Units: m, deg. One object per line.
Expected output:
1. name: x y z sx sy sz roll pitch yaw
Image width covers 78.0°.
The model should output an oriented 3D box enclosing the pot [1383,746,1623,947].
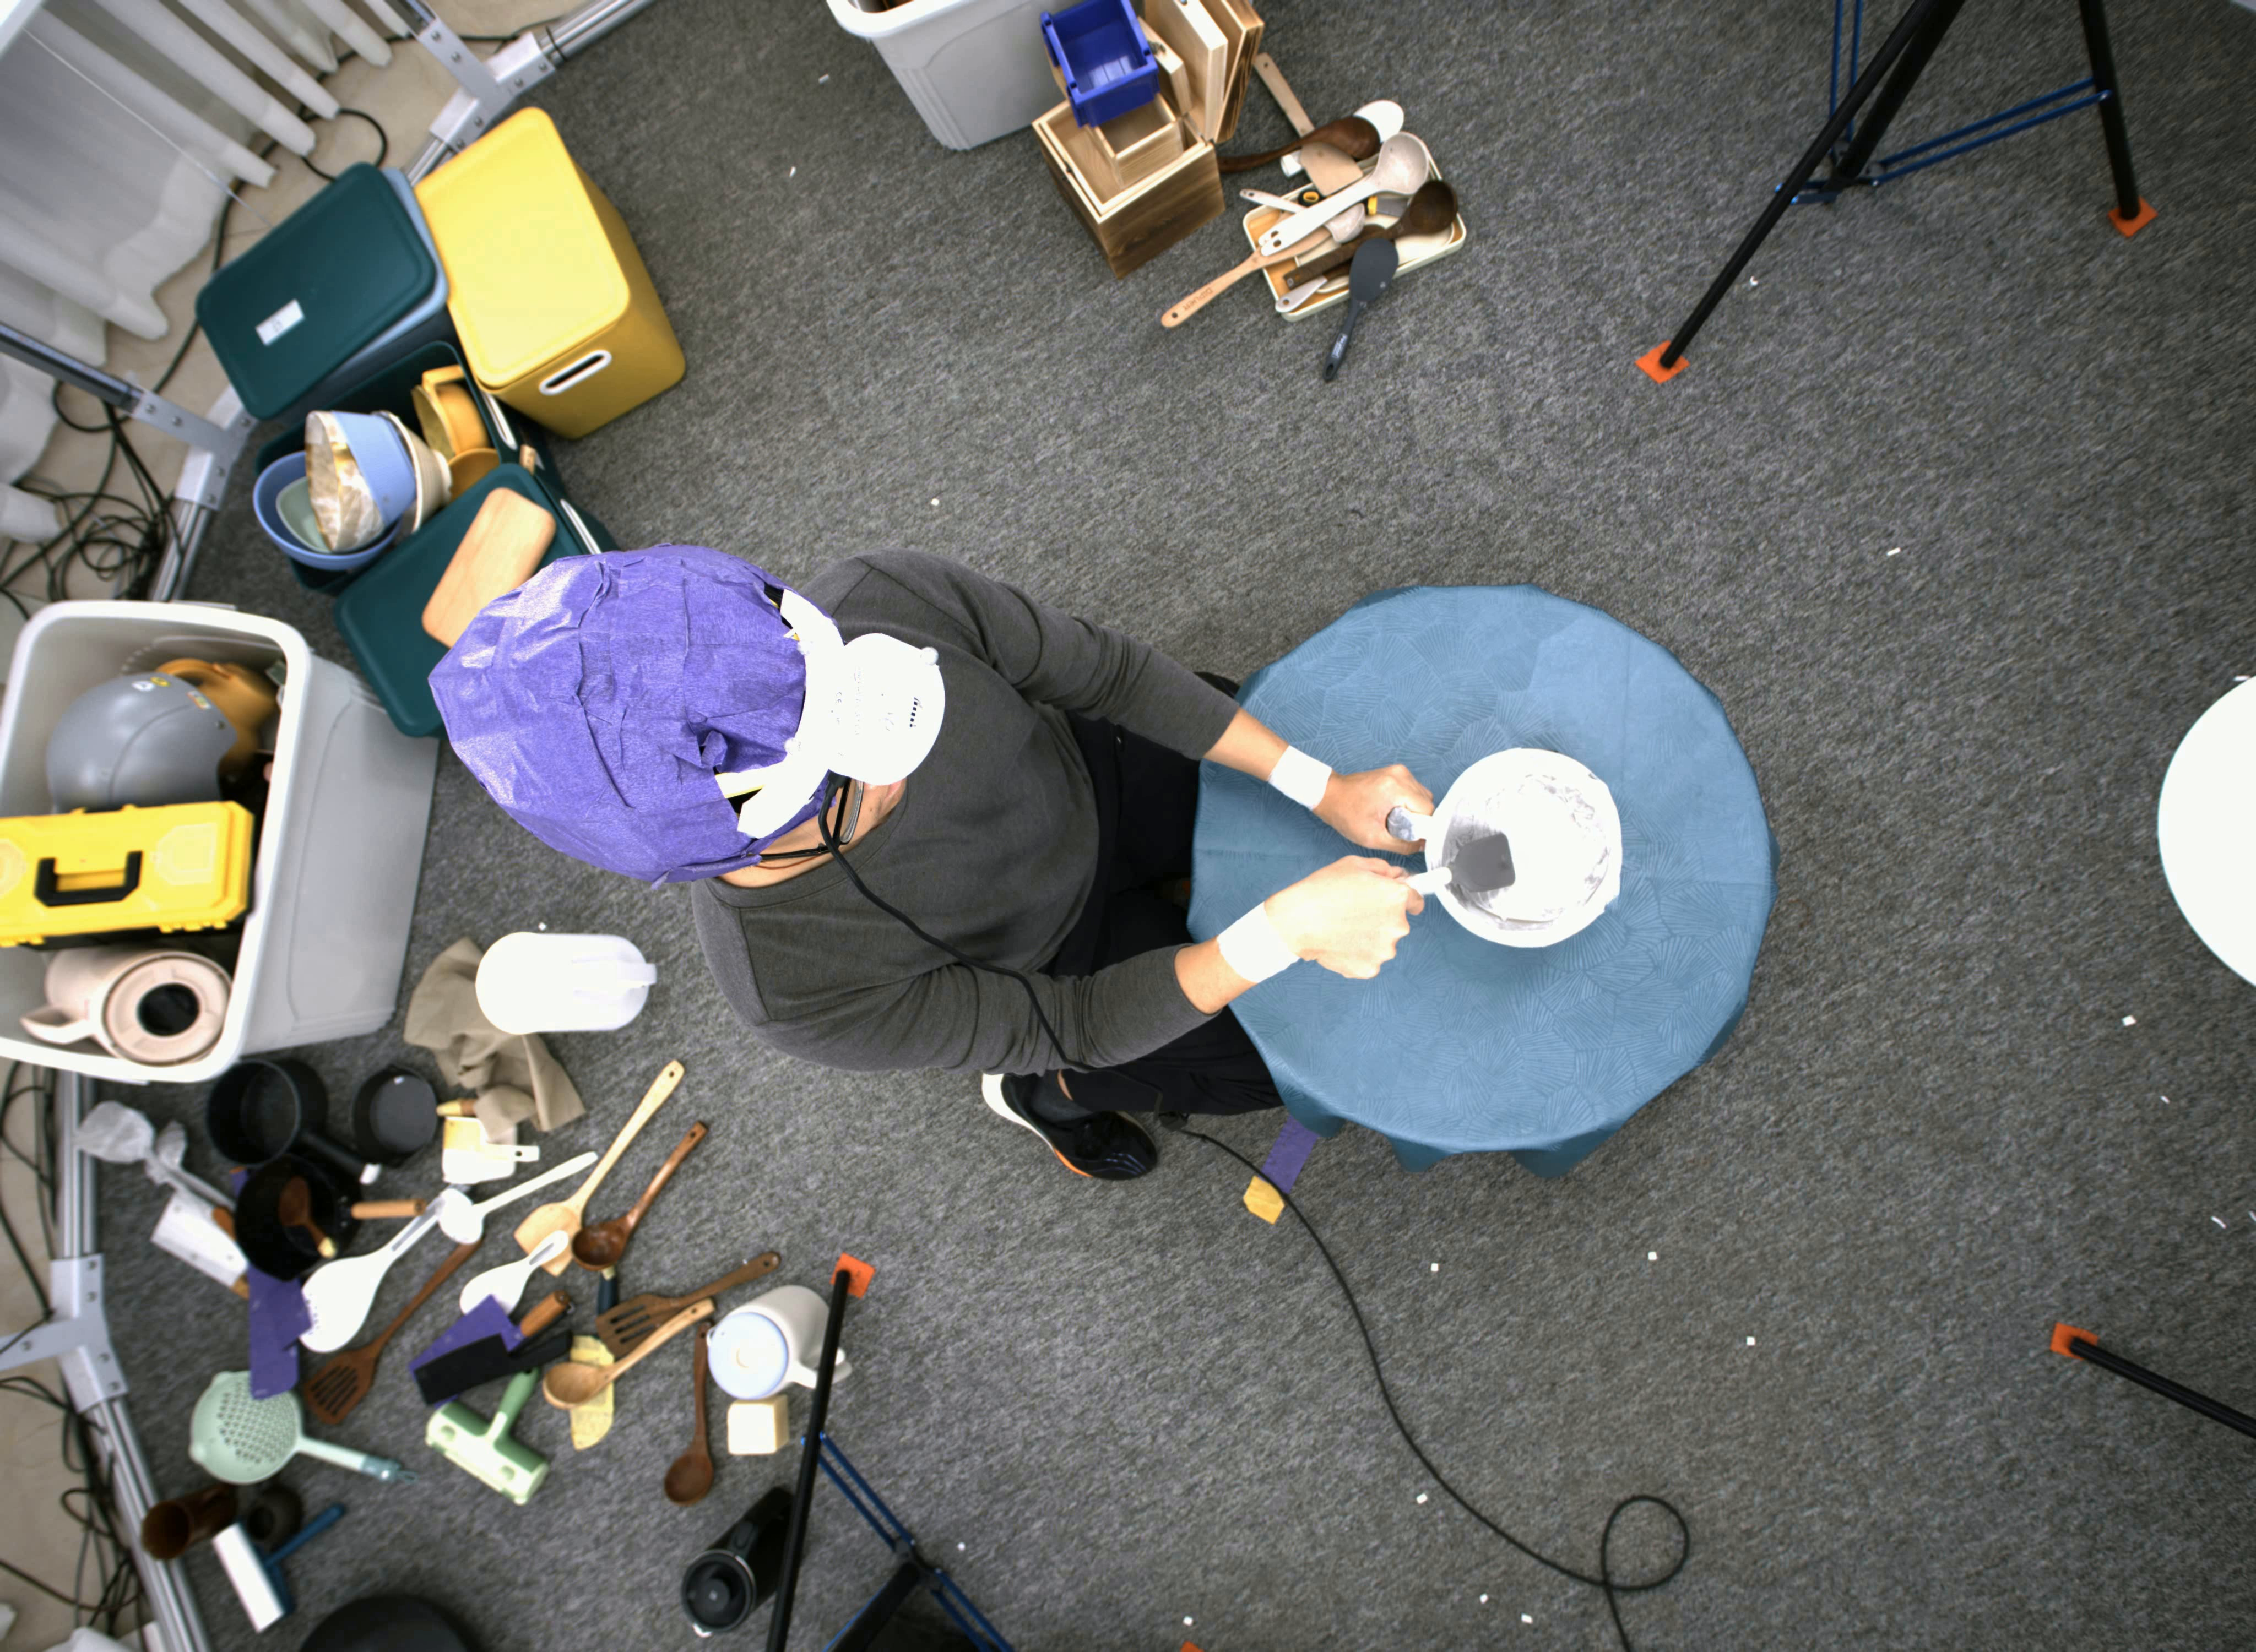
1. pot: 0.359 0.009 1.335 0.234 0.135 0.181 12 105 17

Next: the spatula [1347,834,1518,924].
1. spatula: 0.284 0.048 1.254 0.032 0.284 0.058 -16 86 40
